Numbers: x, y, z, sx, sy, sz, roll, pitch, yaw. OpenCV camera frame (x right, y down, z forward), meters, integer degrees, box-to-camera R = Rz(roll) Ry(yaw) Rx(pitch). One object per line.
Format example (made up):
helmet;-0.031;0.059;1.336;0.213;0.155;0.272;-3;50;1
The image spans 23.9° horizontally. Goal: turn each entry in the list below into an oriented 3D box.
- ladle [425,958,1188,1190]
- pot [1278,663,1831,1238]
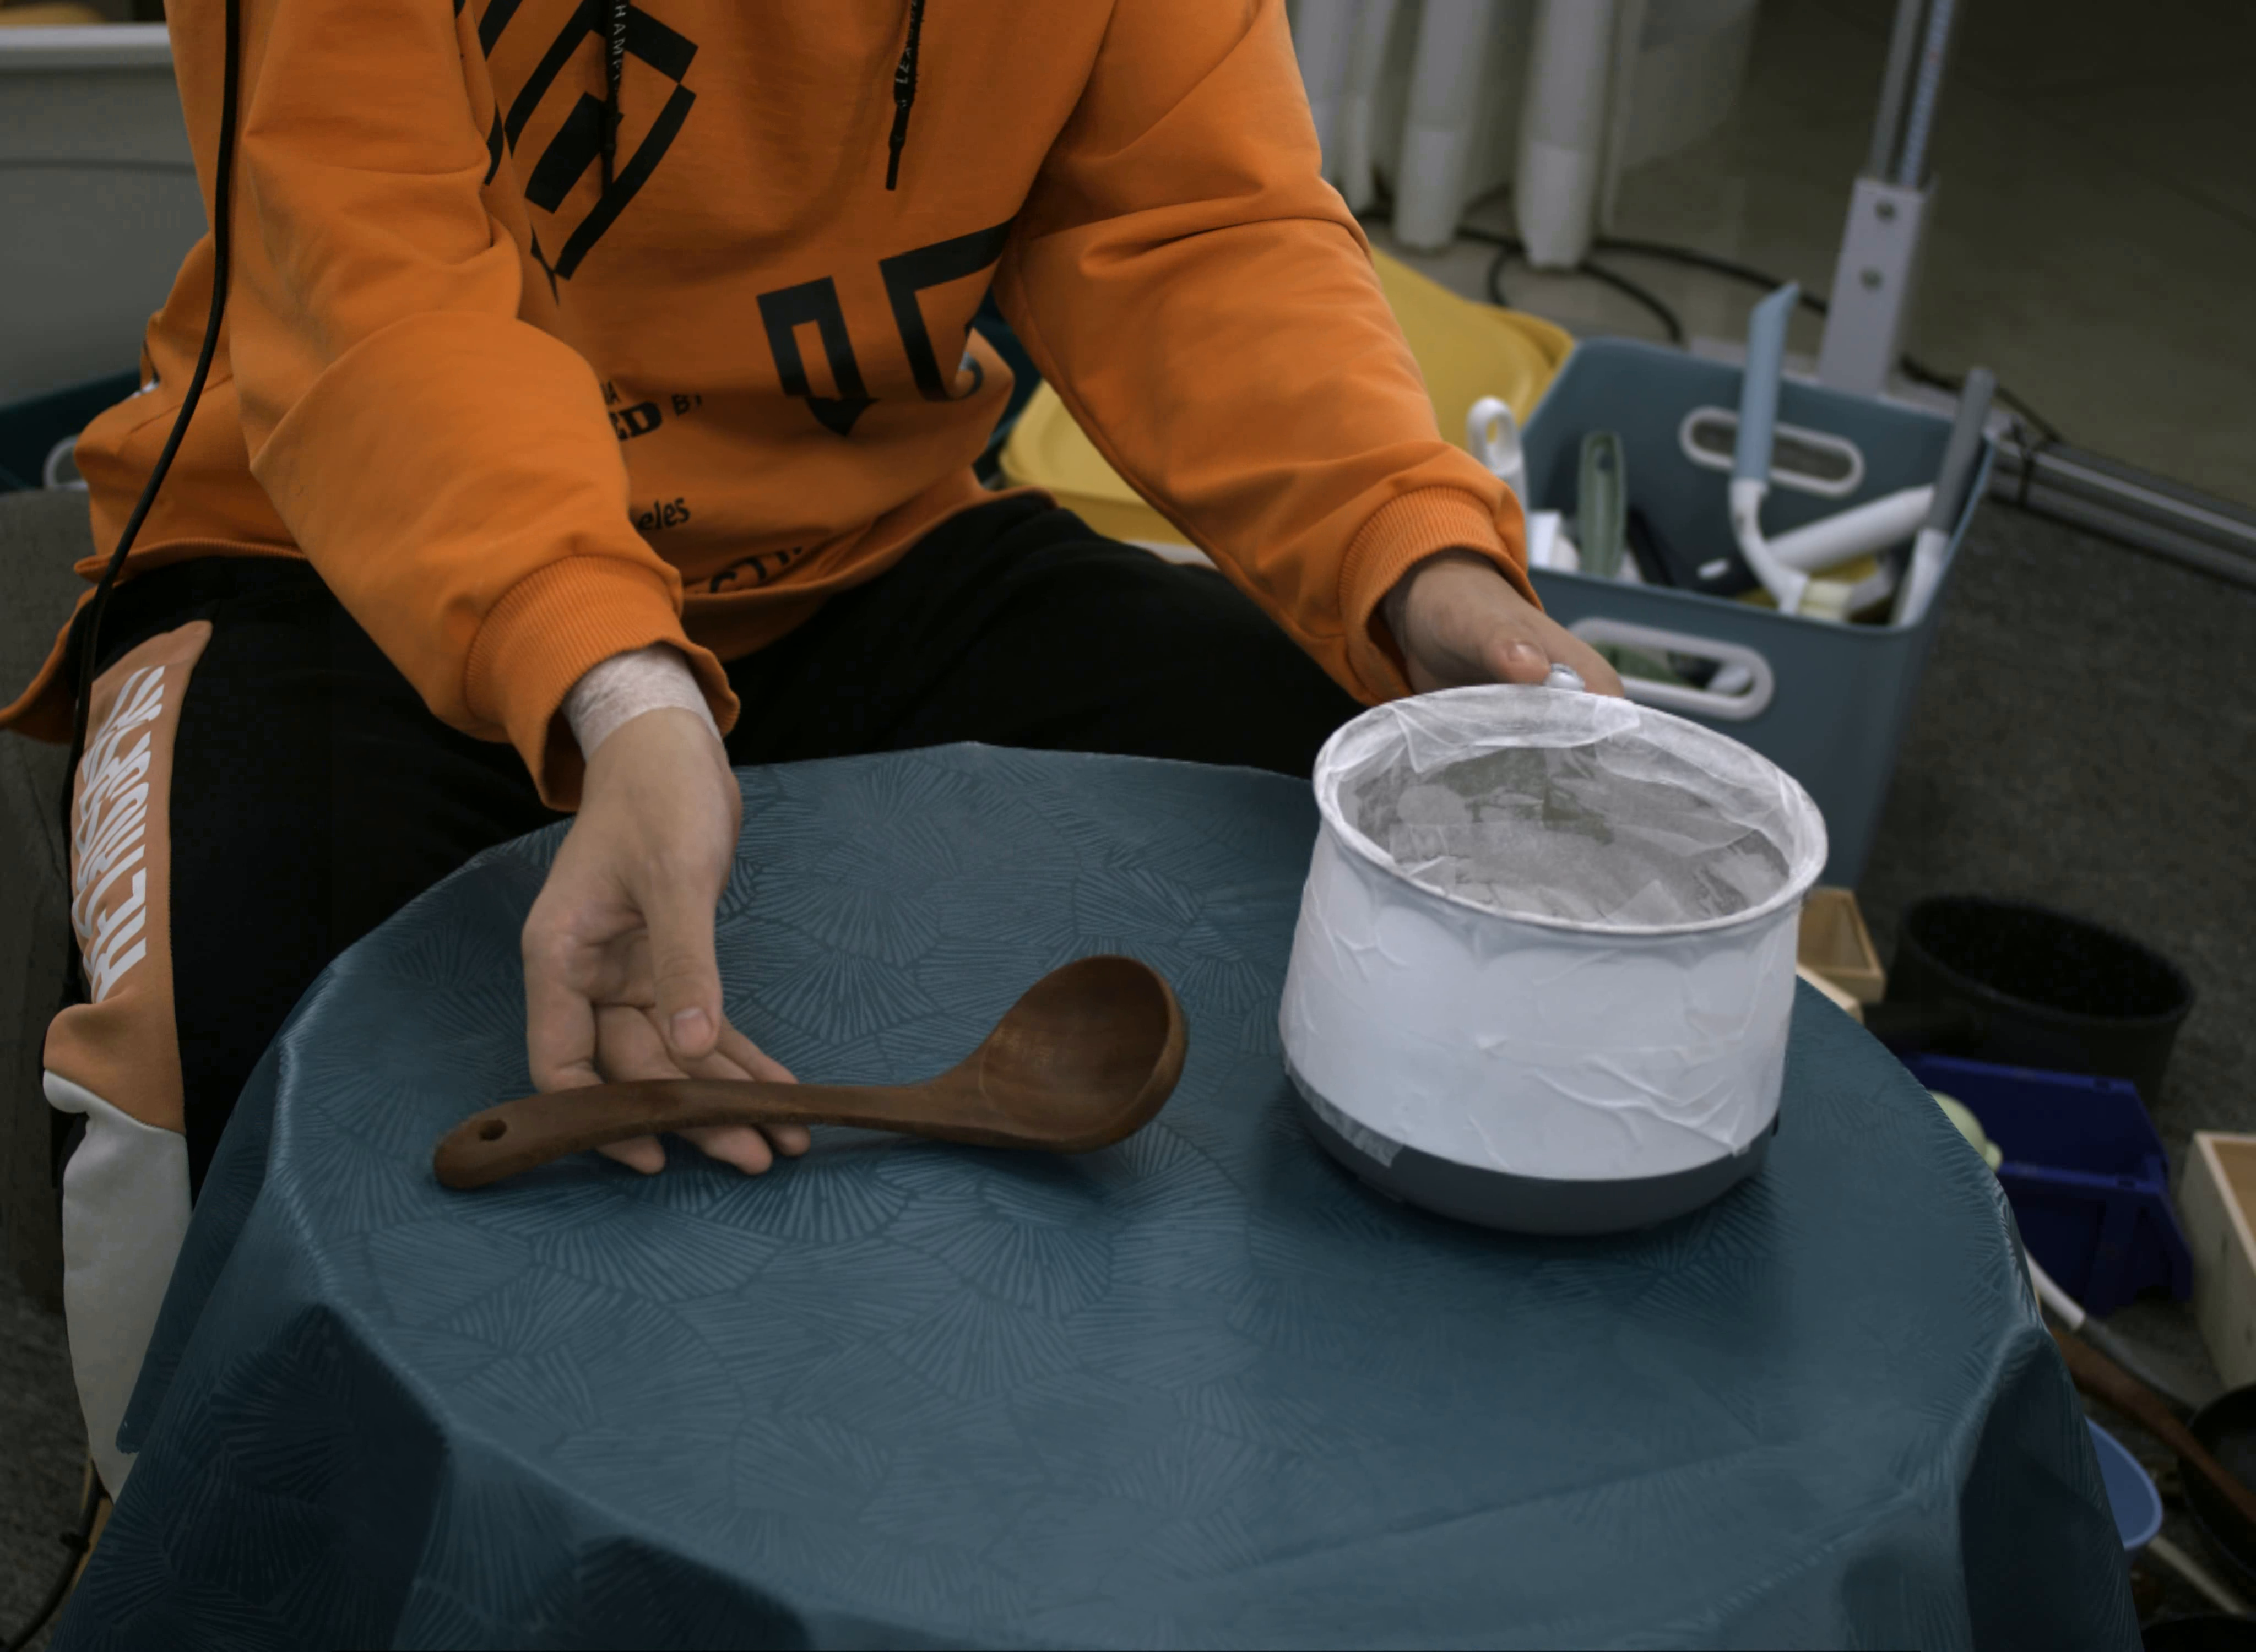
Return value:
ladle;-0.106;0.085;1.785;0.258;0.065;0.077;-2;34;-18
pot;0.143;0.036;1.856;0.178;0.136;0.235;6;27;-3
